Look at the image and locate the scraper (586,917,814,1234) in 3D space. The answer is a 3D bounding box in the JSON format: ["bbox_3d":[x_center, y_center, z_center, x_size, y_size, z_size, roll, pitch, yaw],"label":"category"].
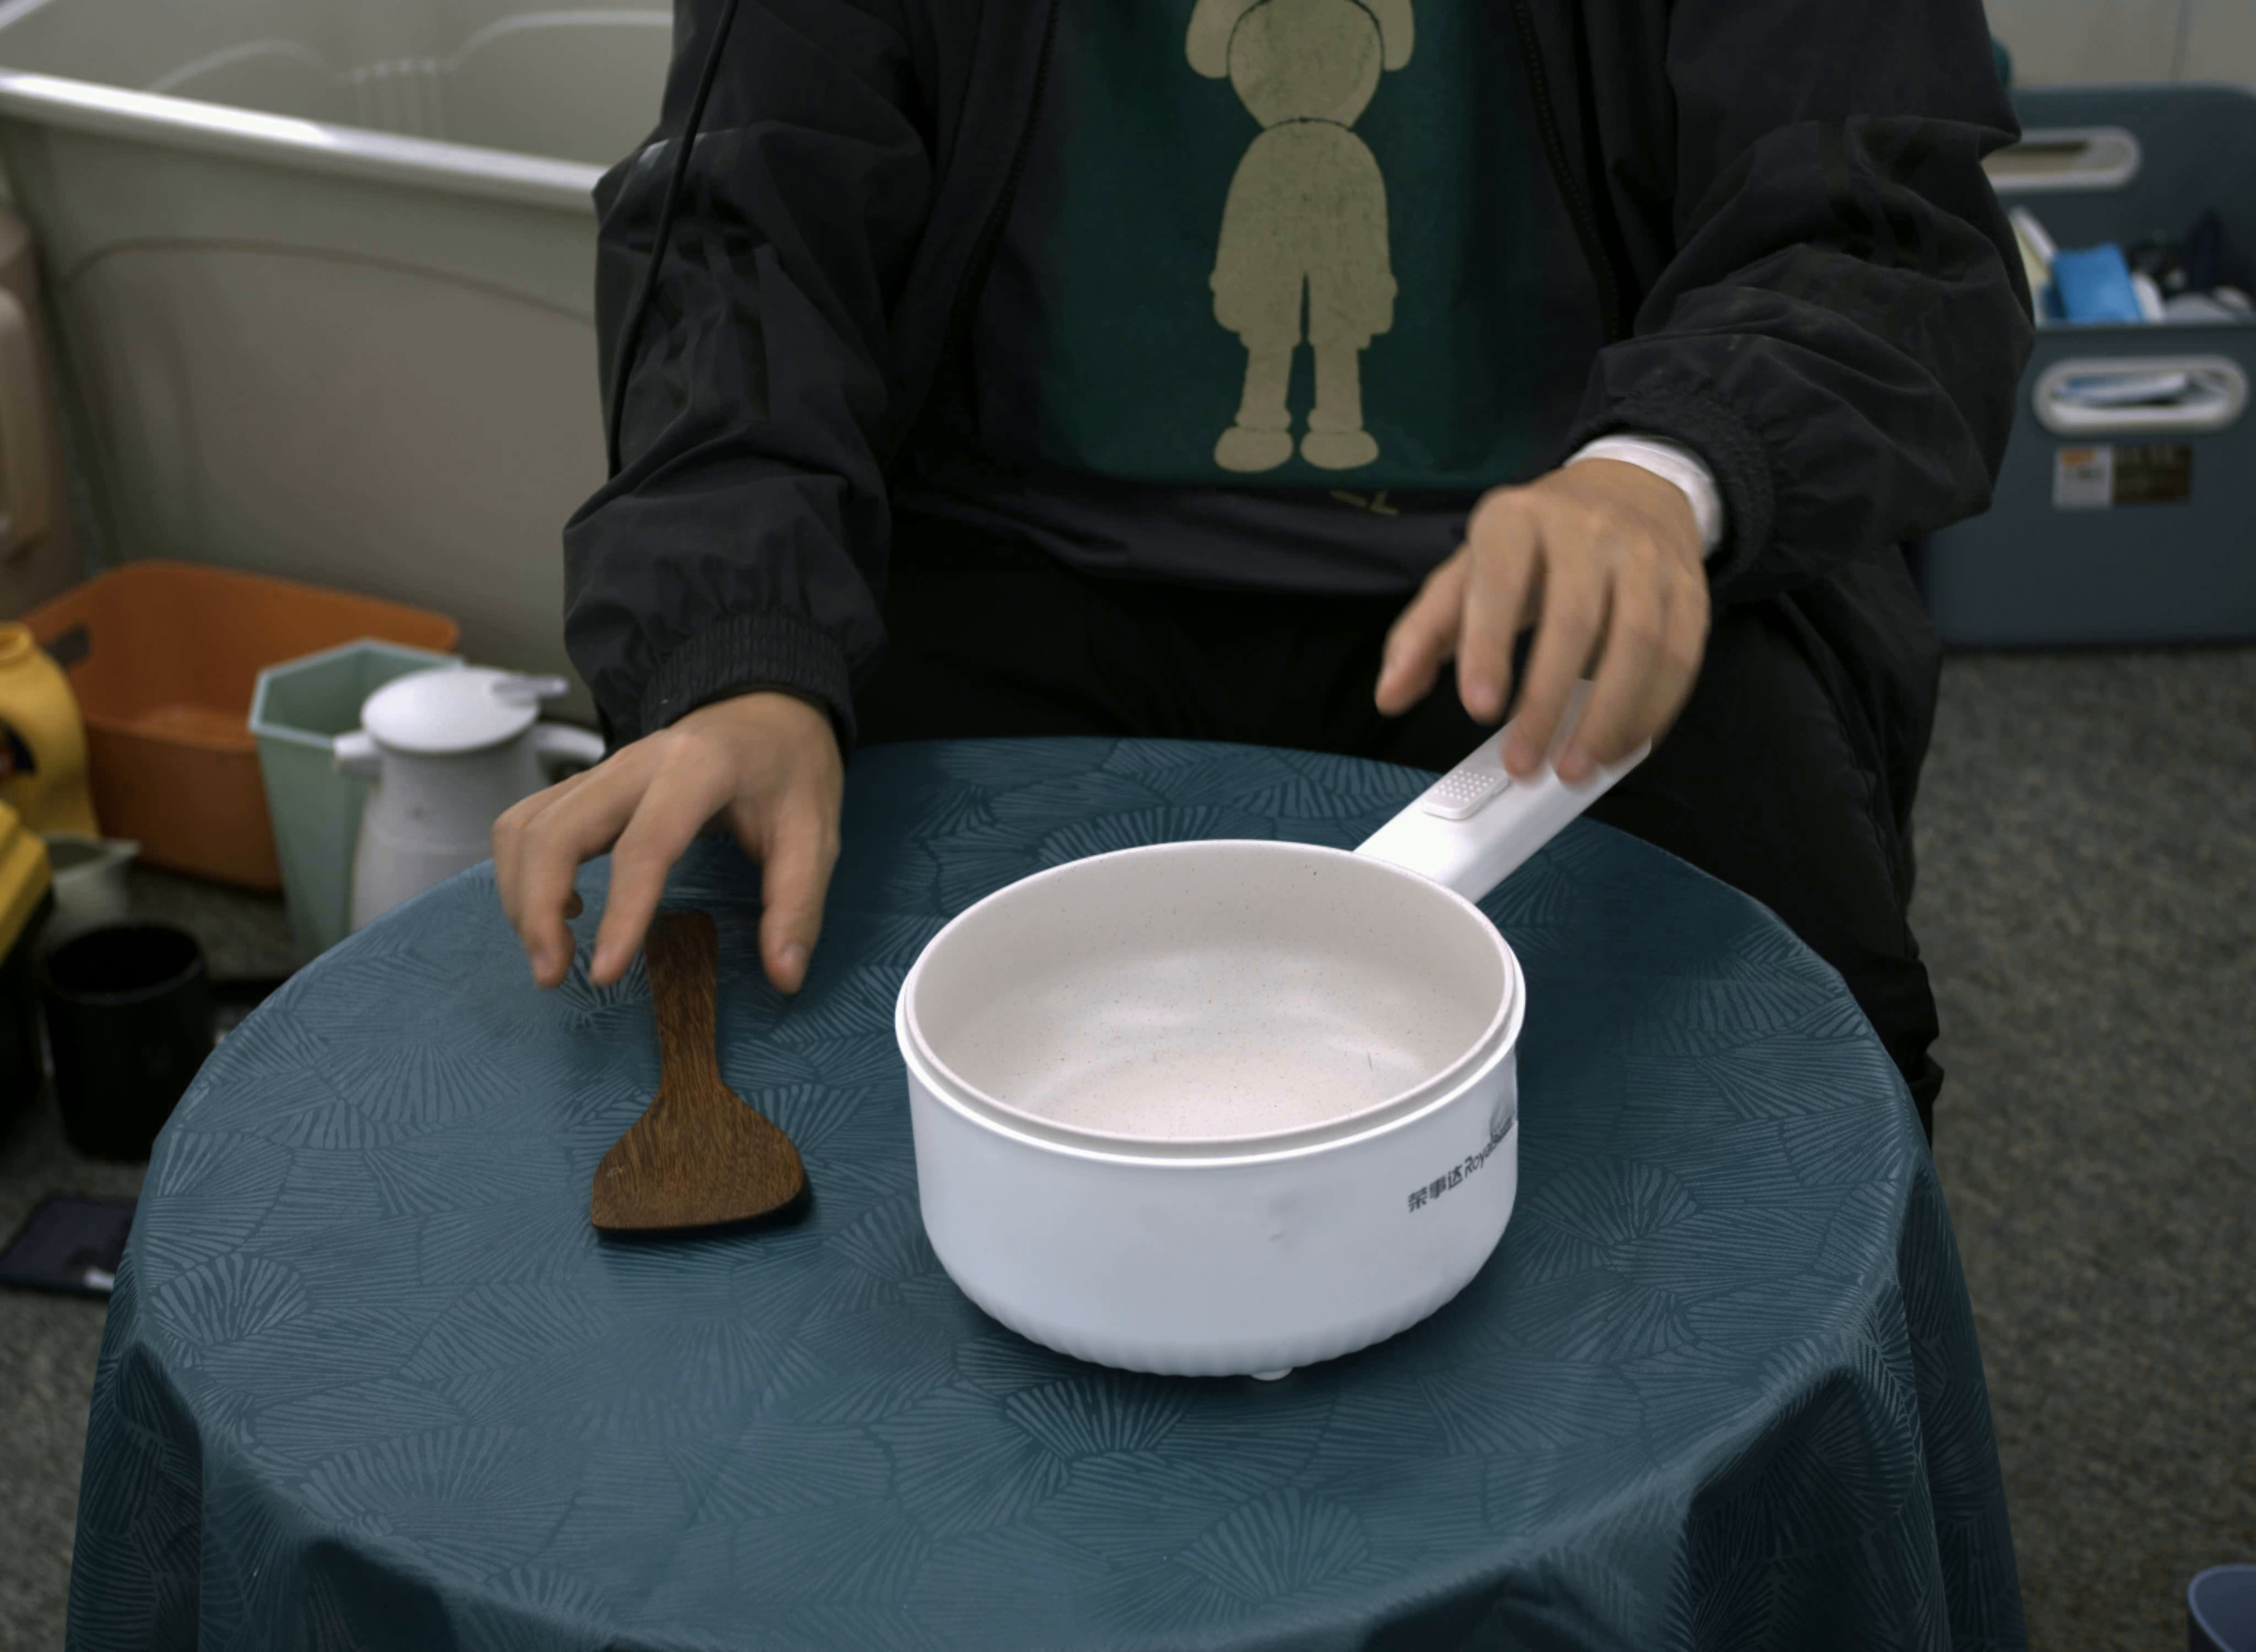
[{"bbox_3d":[-0.150,0.085,1.932,0.075,0.011,0.214,-4,28,-5],"label":"scraper"}]

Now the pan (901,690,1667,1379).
[{"bbox_3d":[0.072,0.064,1.858,0.200,0.101,0.360,14,30,31],"label":"pan"}]
